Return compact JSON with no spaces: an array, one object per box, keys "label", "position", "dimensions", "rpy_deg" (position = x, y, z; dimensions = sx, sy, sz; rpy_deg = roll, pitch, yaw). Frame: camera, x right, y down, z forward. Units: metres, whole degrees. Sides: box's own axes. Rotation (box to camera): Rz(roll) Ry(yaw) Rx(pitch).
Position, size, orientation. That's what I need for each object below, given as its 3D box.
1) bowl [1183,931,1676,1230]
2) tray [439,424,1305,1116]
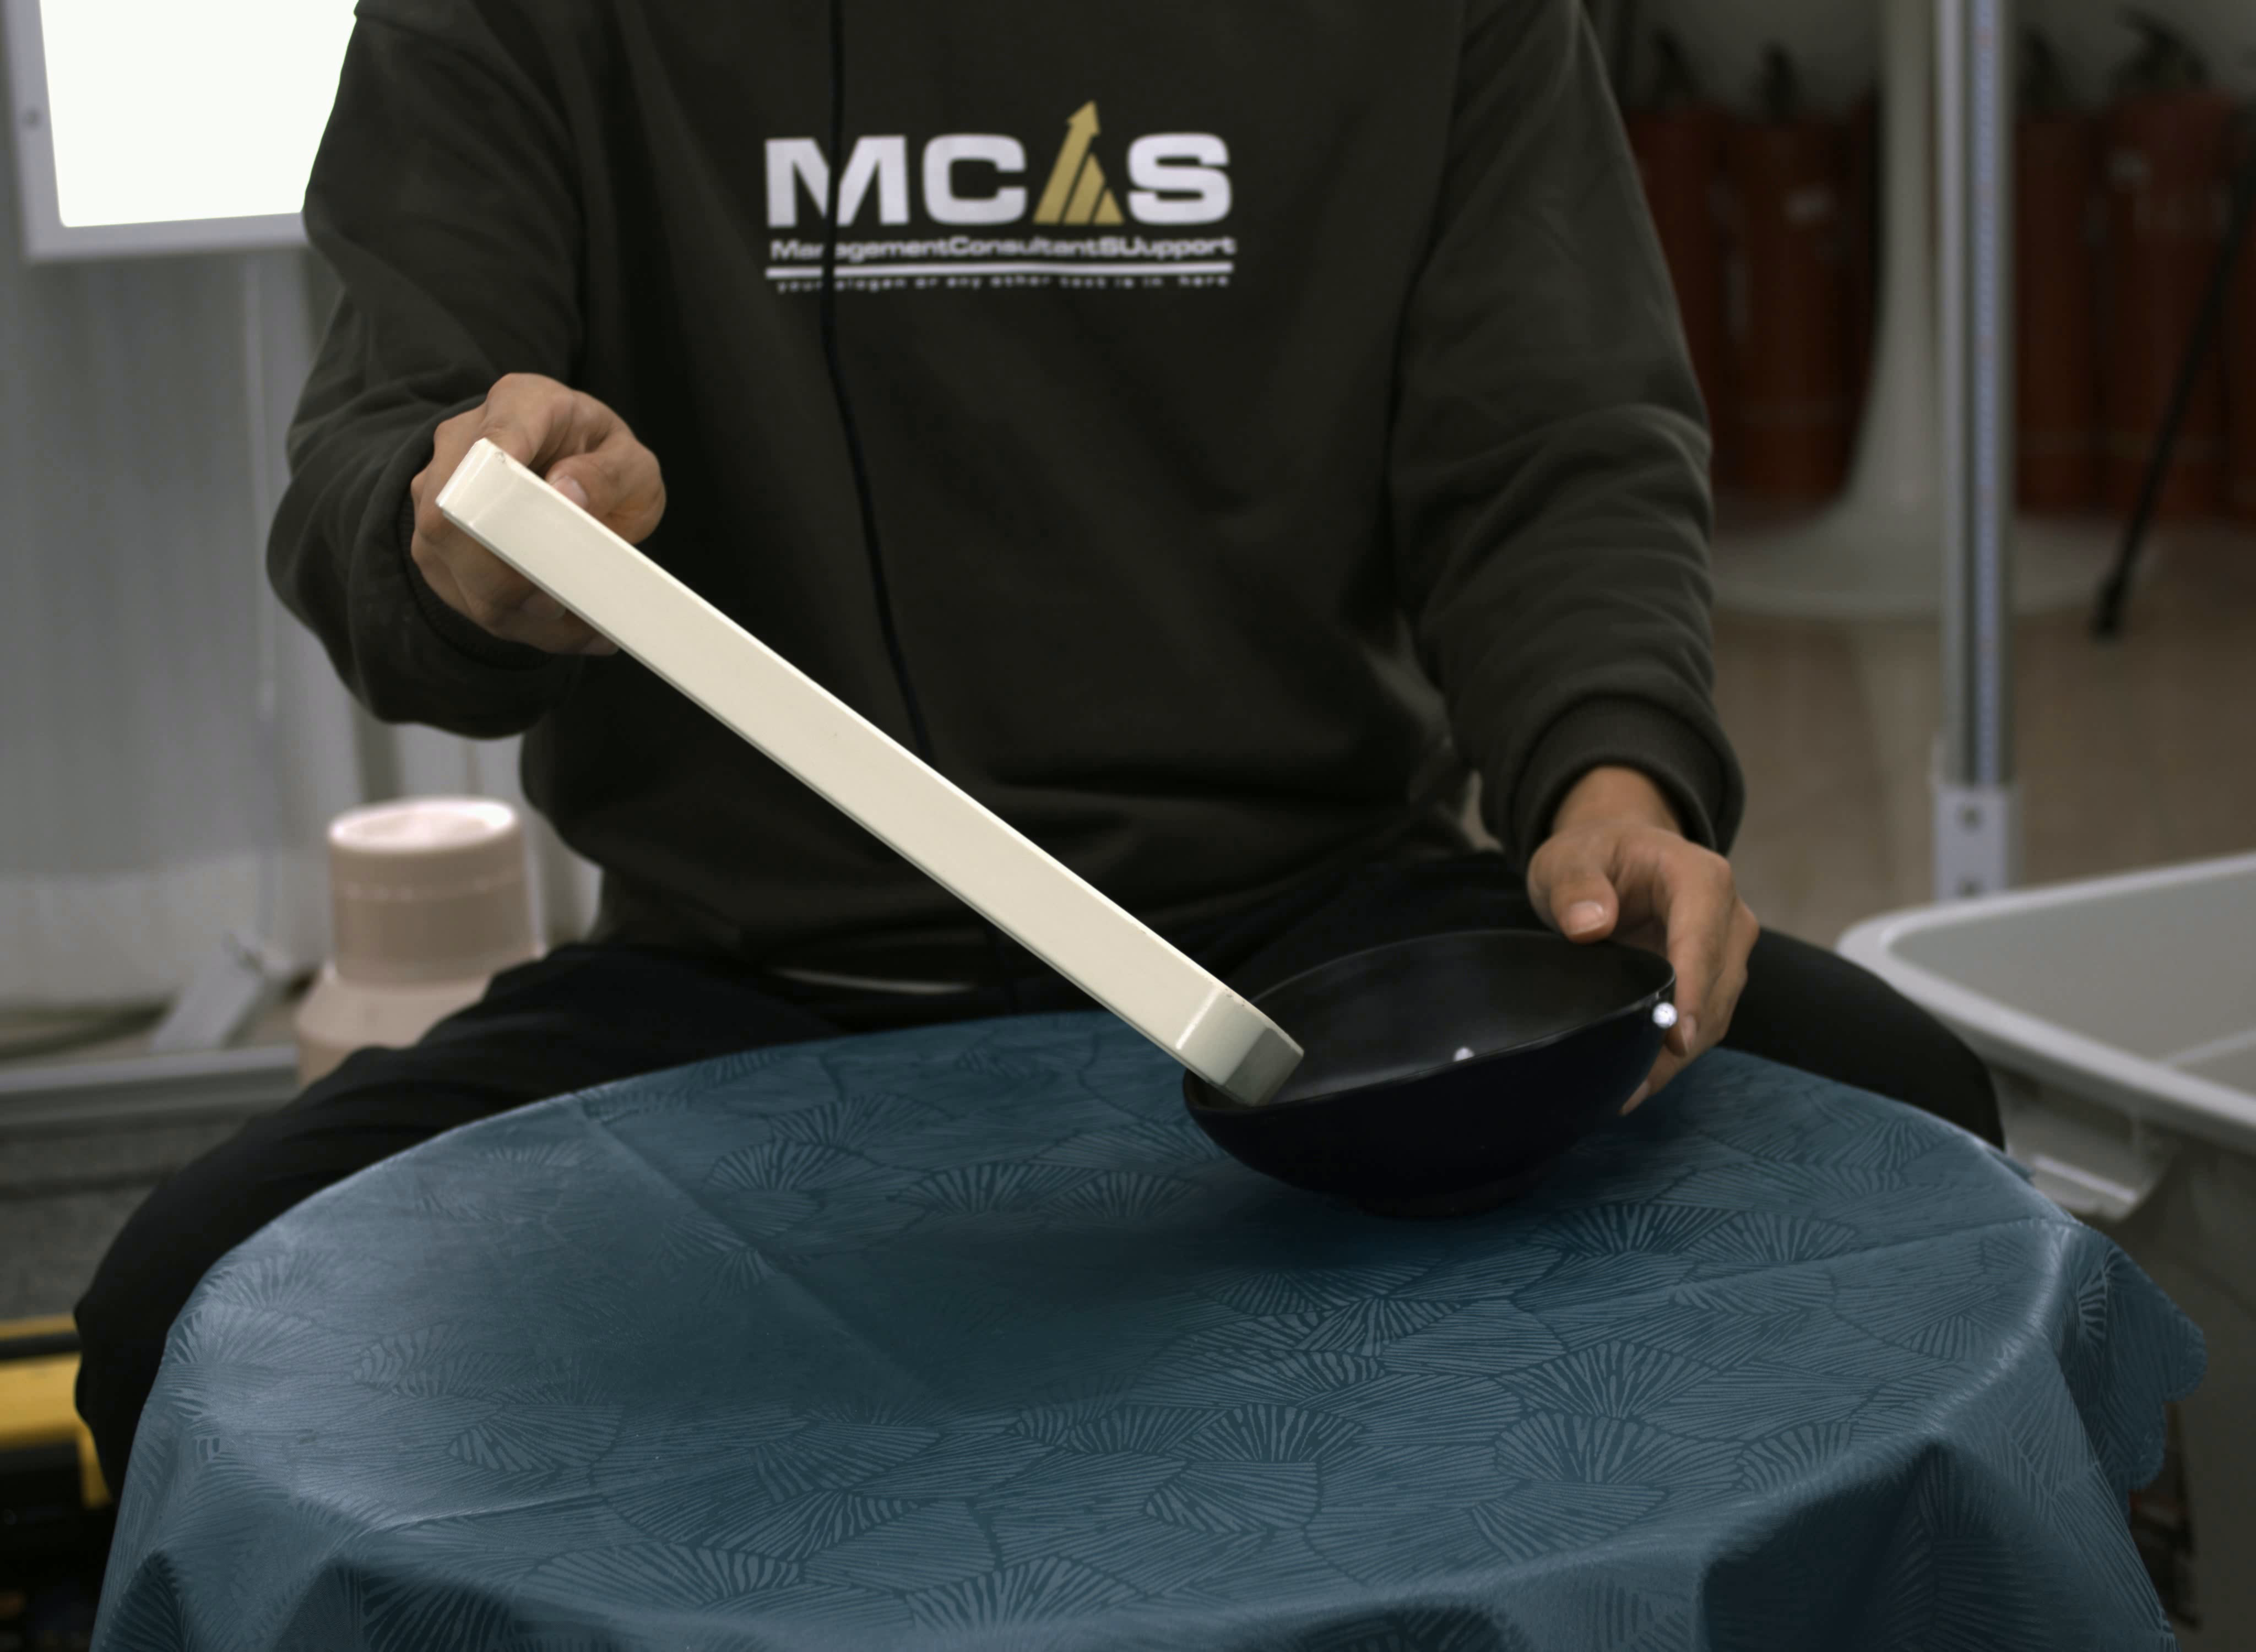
[{"label":"bowl","position":[0.102,0.088,1.744],"dimensions":[0.167,0.067,0.138],"rpy_deg":[-16,14,-18]},{"label":"tray","position":[-0.075,-0.013,1.677],"dimensions":[0.300,0.027,0.191],"rpy_deg":[37,-2,10]}]
